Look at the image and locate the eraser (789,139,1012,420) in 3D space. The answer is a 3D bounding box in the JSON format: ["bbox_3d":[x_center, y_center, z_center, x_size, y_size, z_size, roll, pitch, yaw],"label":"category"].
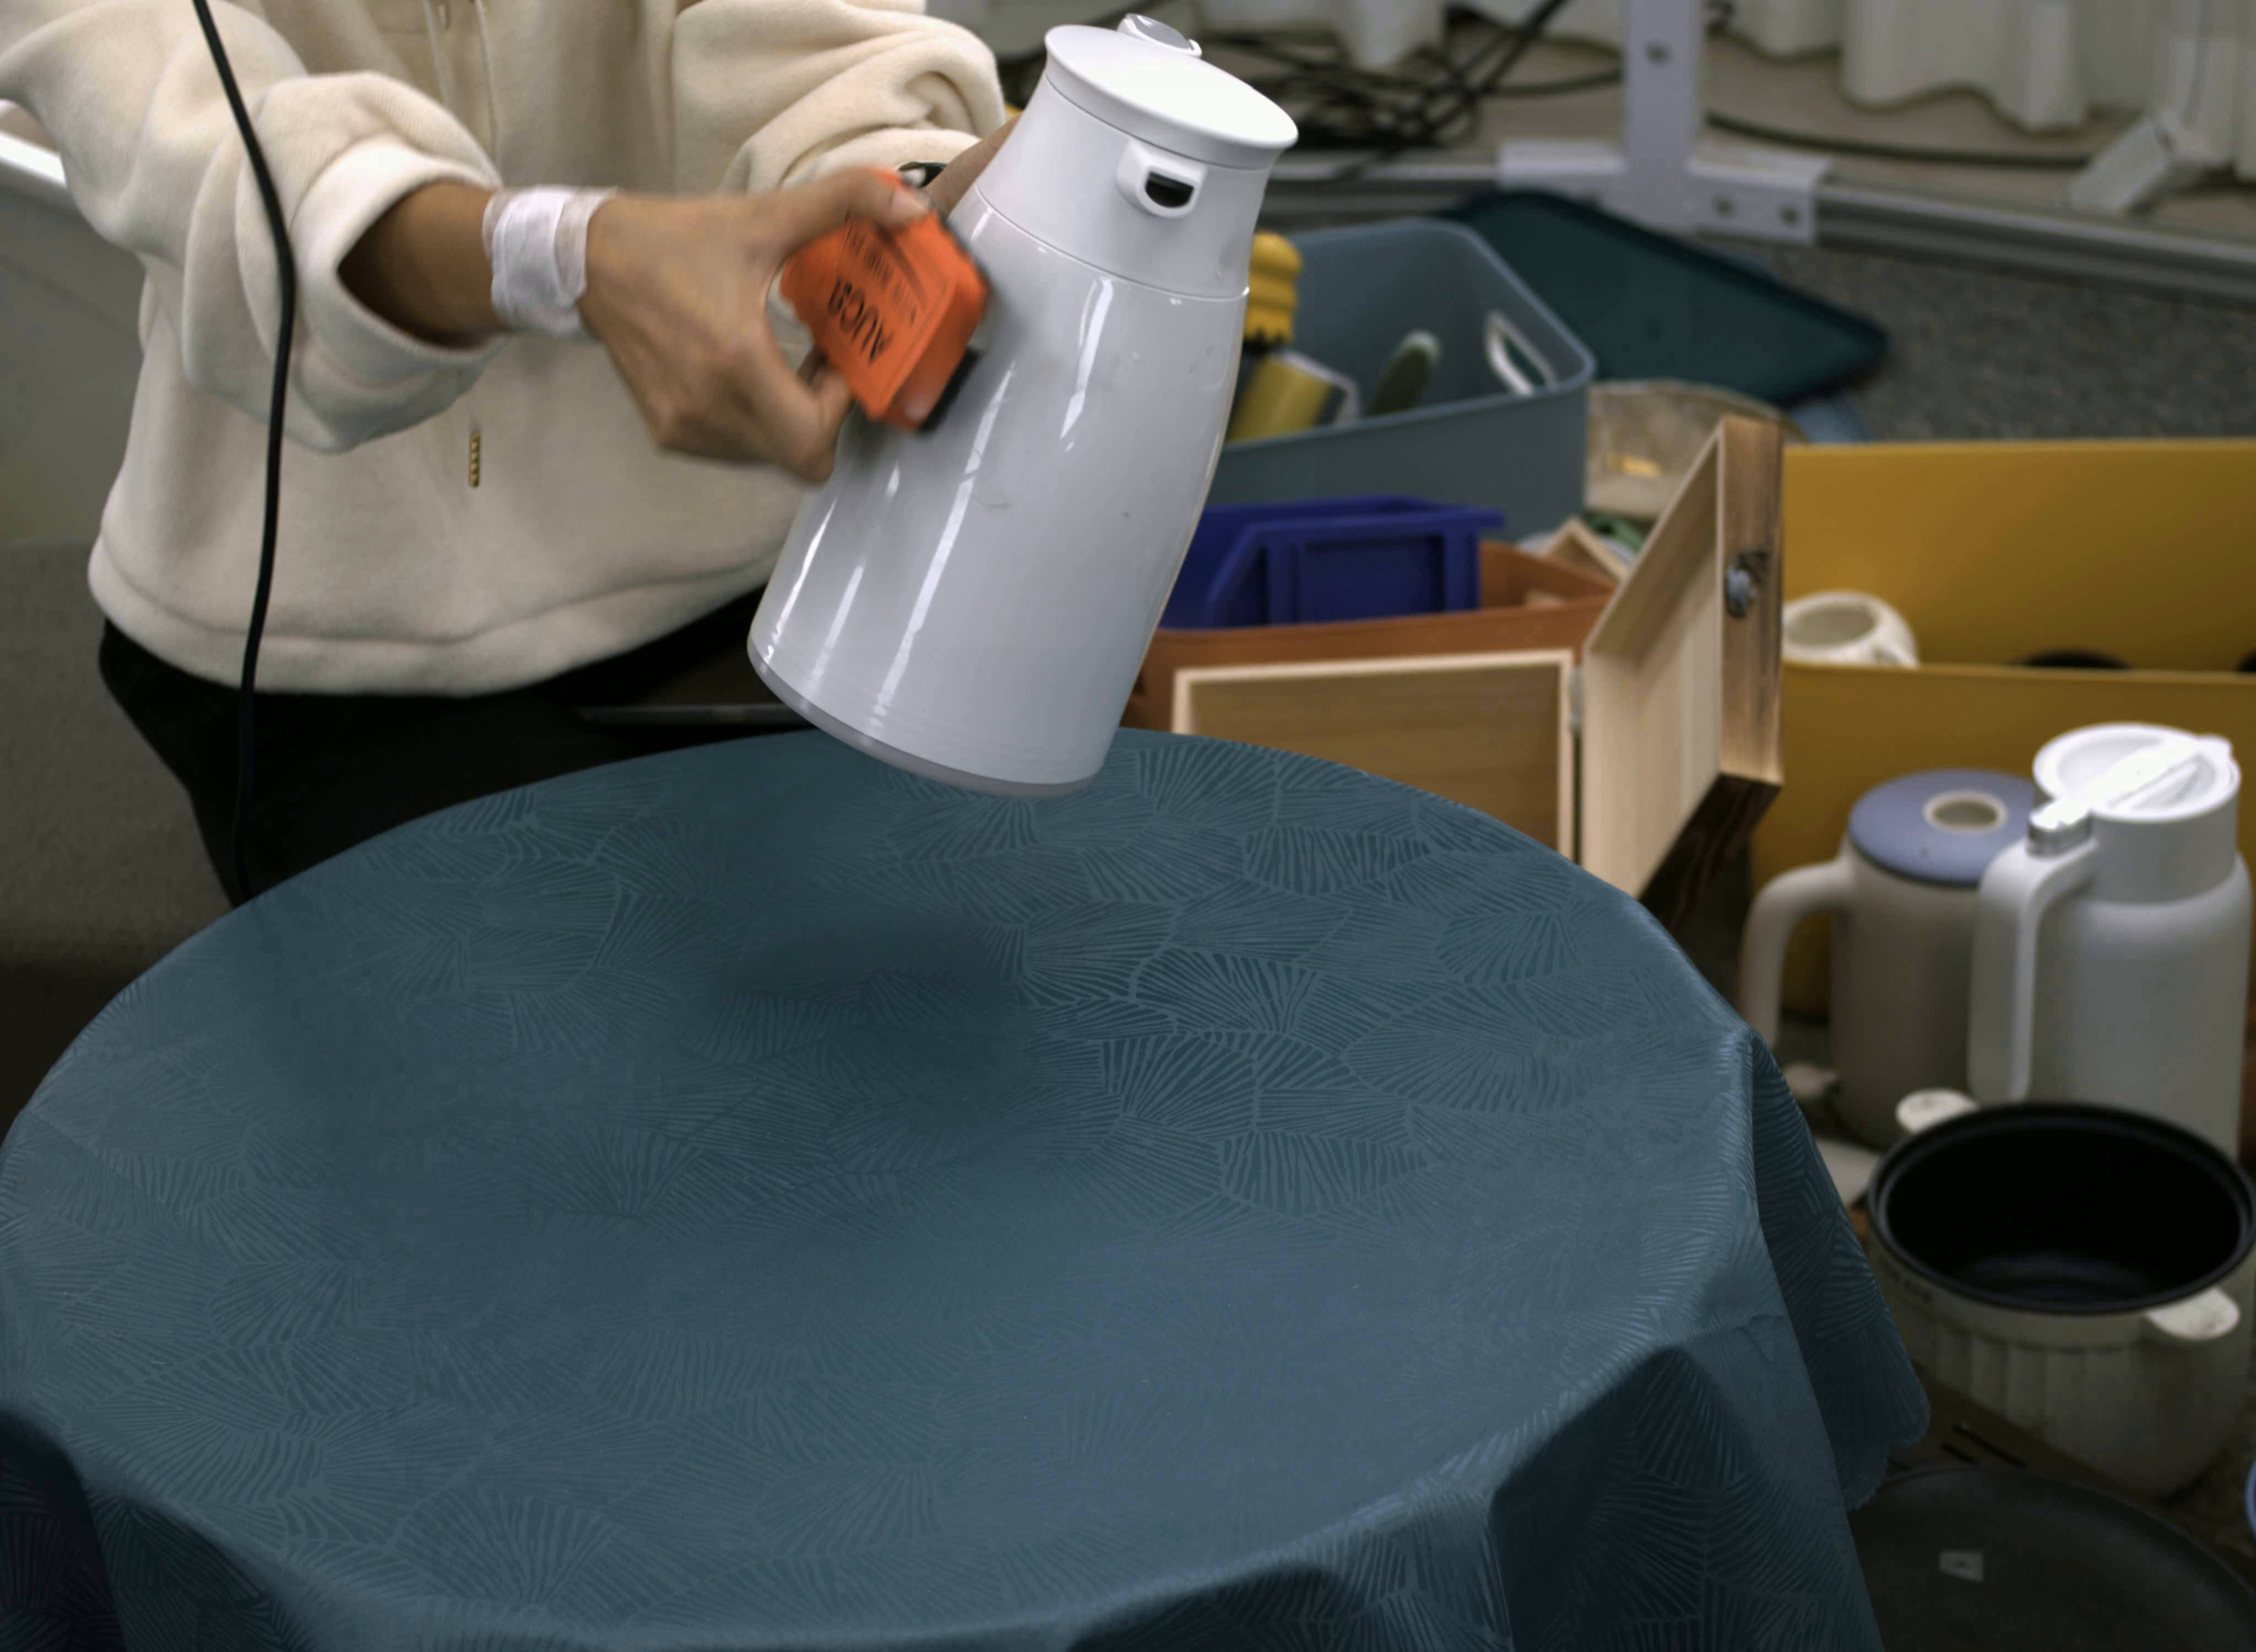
[{"bbox_3d":[-0.077,-0.183,1.885,0.023,0.058,0.109,23,17,-34],"label":"eraser"}]

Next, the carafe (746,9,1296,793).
[{"bbox_3d":[-0.031,-0.158,1.945,0.132,0.246,0.169,18,18,-14],"label":"carafe"}]
